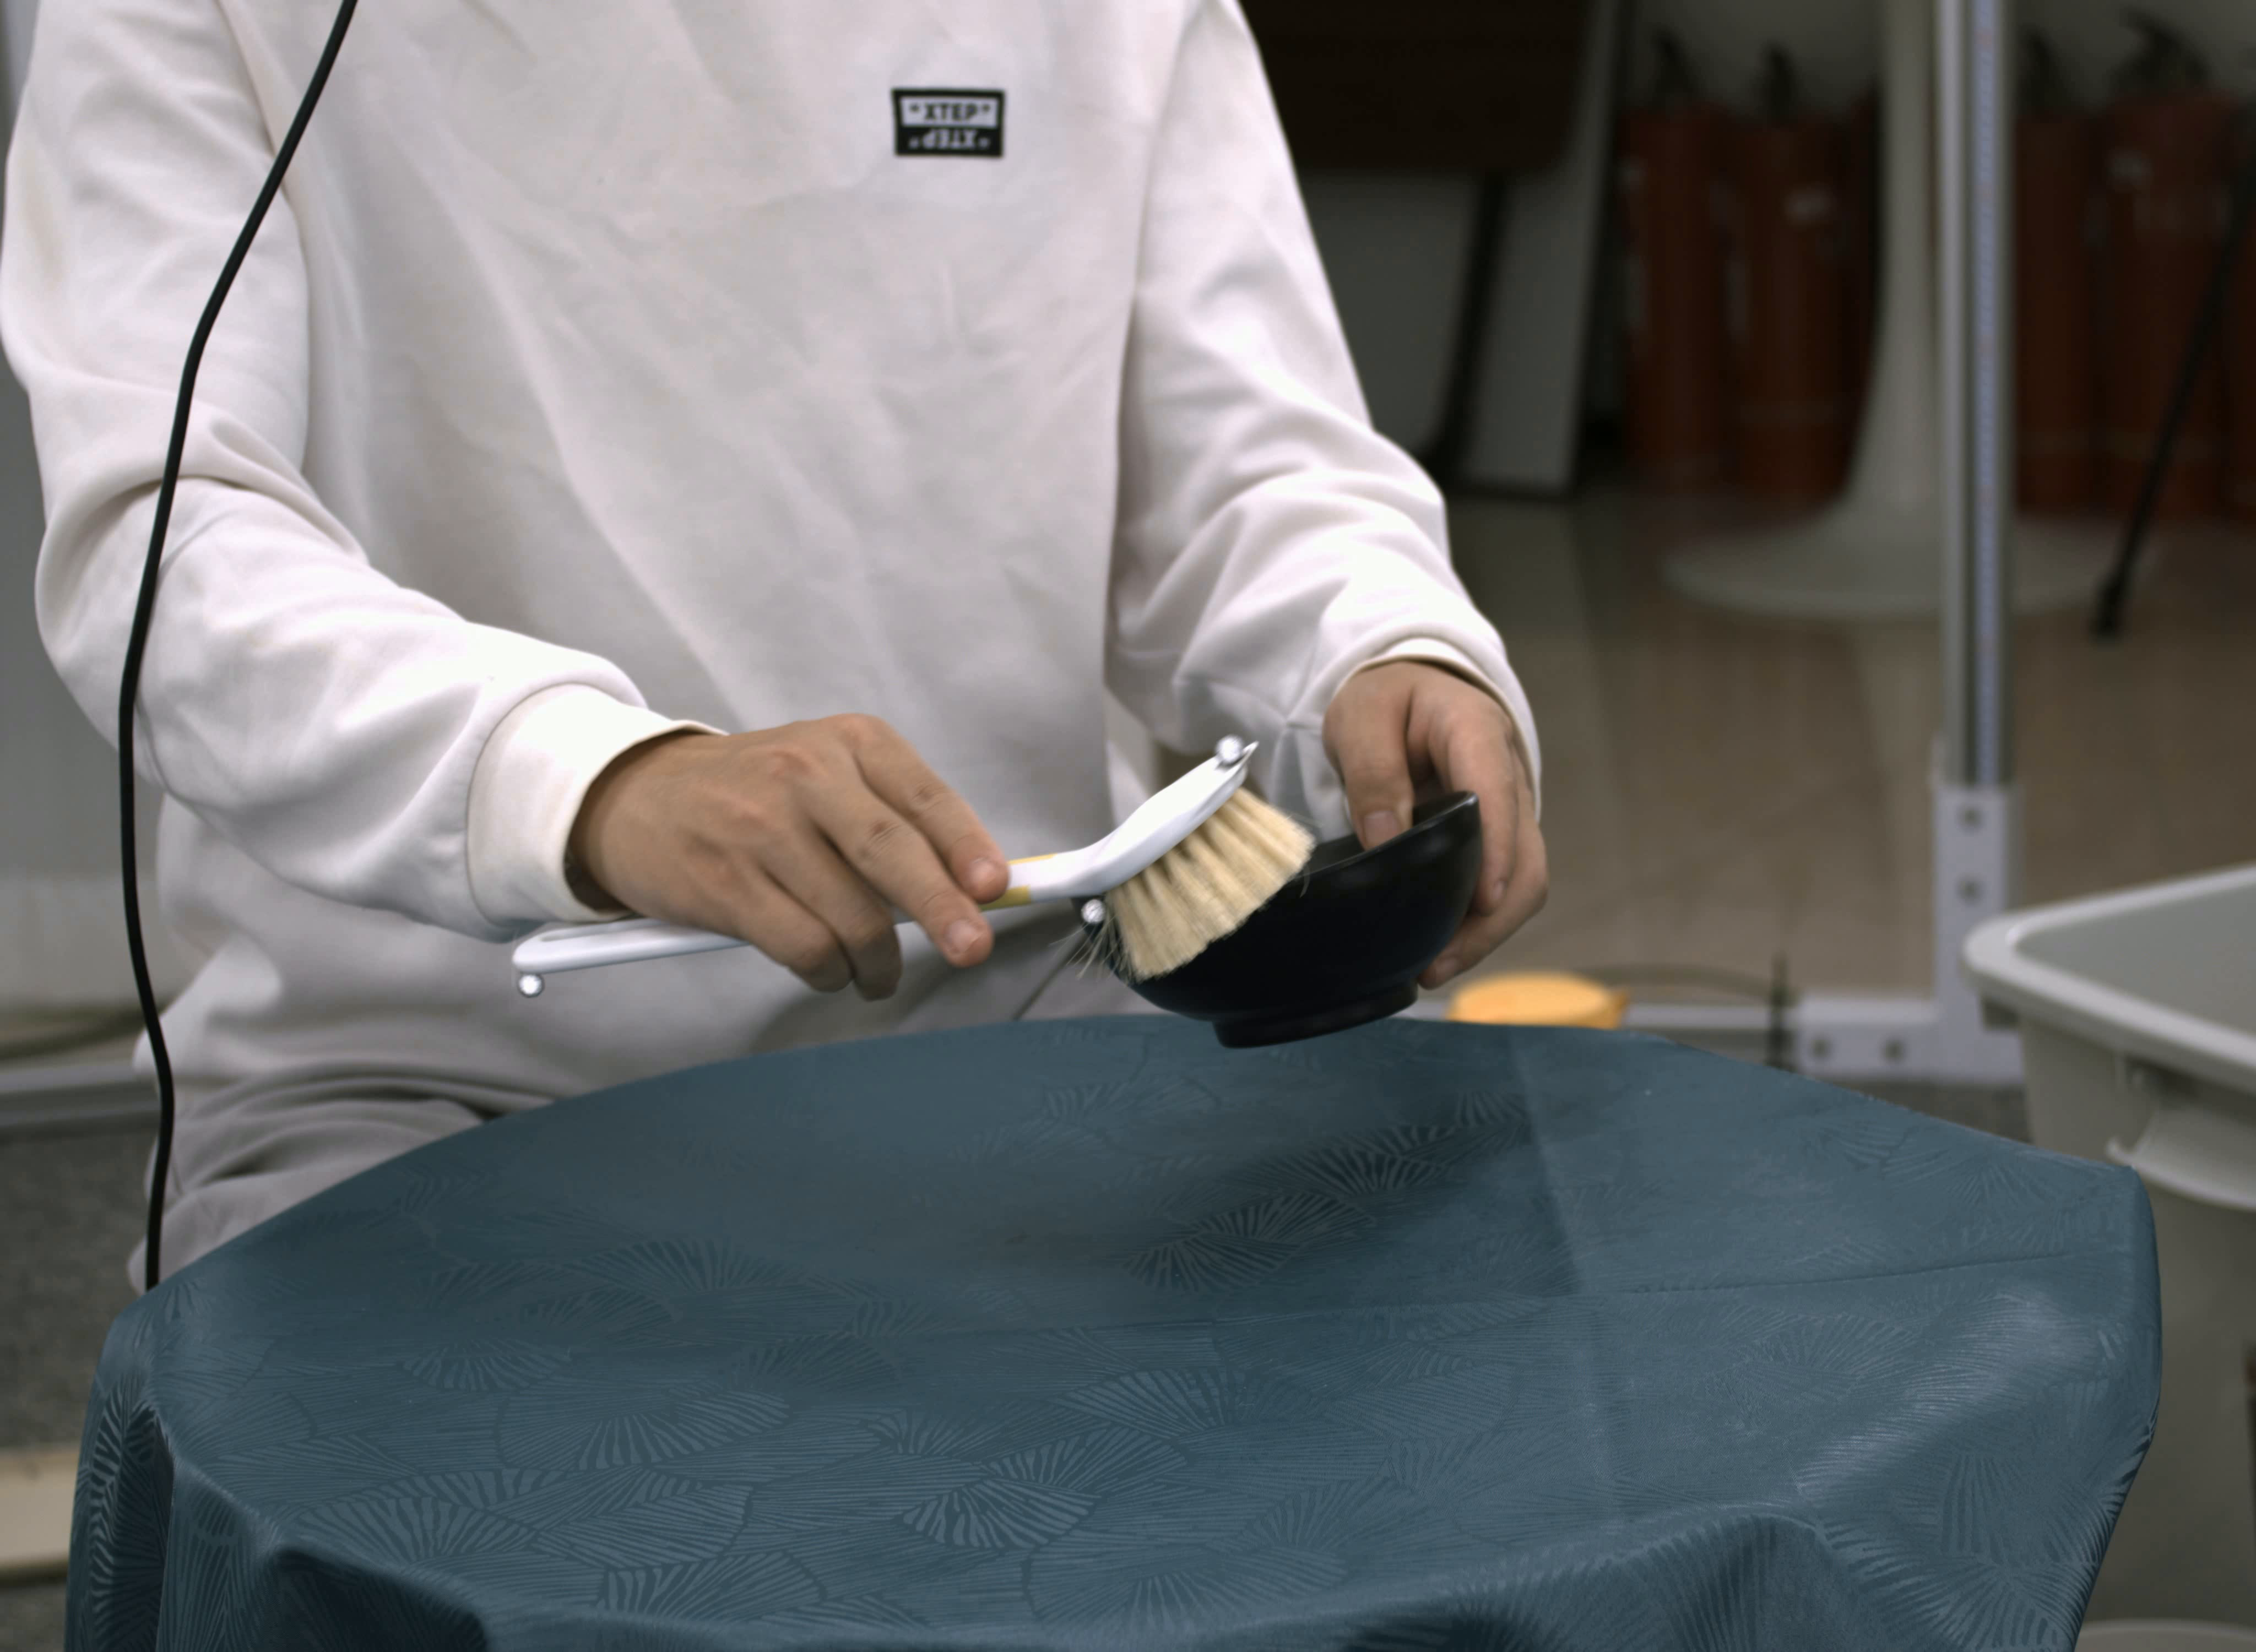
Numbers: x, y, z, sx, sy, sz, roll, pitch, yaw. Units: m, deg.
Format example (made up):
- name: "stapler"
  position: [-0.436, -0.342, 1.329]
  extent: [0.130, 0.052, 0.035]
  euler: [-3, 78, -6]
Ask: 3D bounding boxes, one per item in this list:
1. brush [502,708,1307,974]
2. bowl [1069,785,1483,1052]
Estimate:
- name: "brush"
  position: [-0.068, 0.028, 1.660]
  extent: [0.266, 0.056, 0.068]
  euler: [-18, 5, 19]
- name: "bowl"
  position: [0.054, 0.034, 1.747]
  extent: [0.136, 0.067, 0.169]
  euler: [-13, 1, 7]
